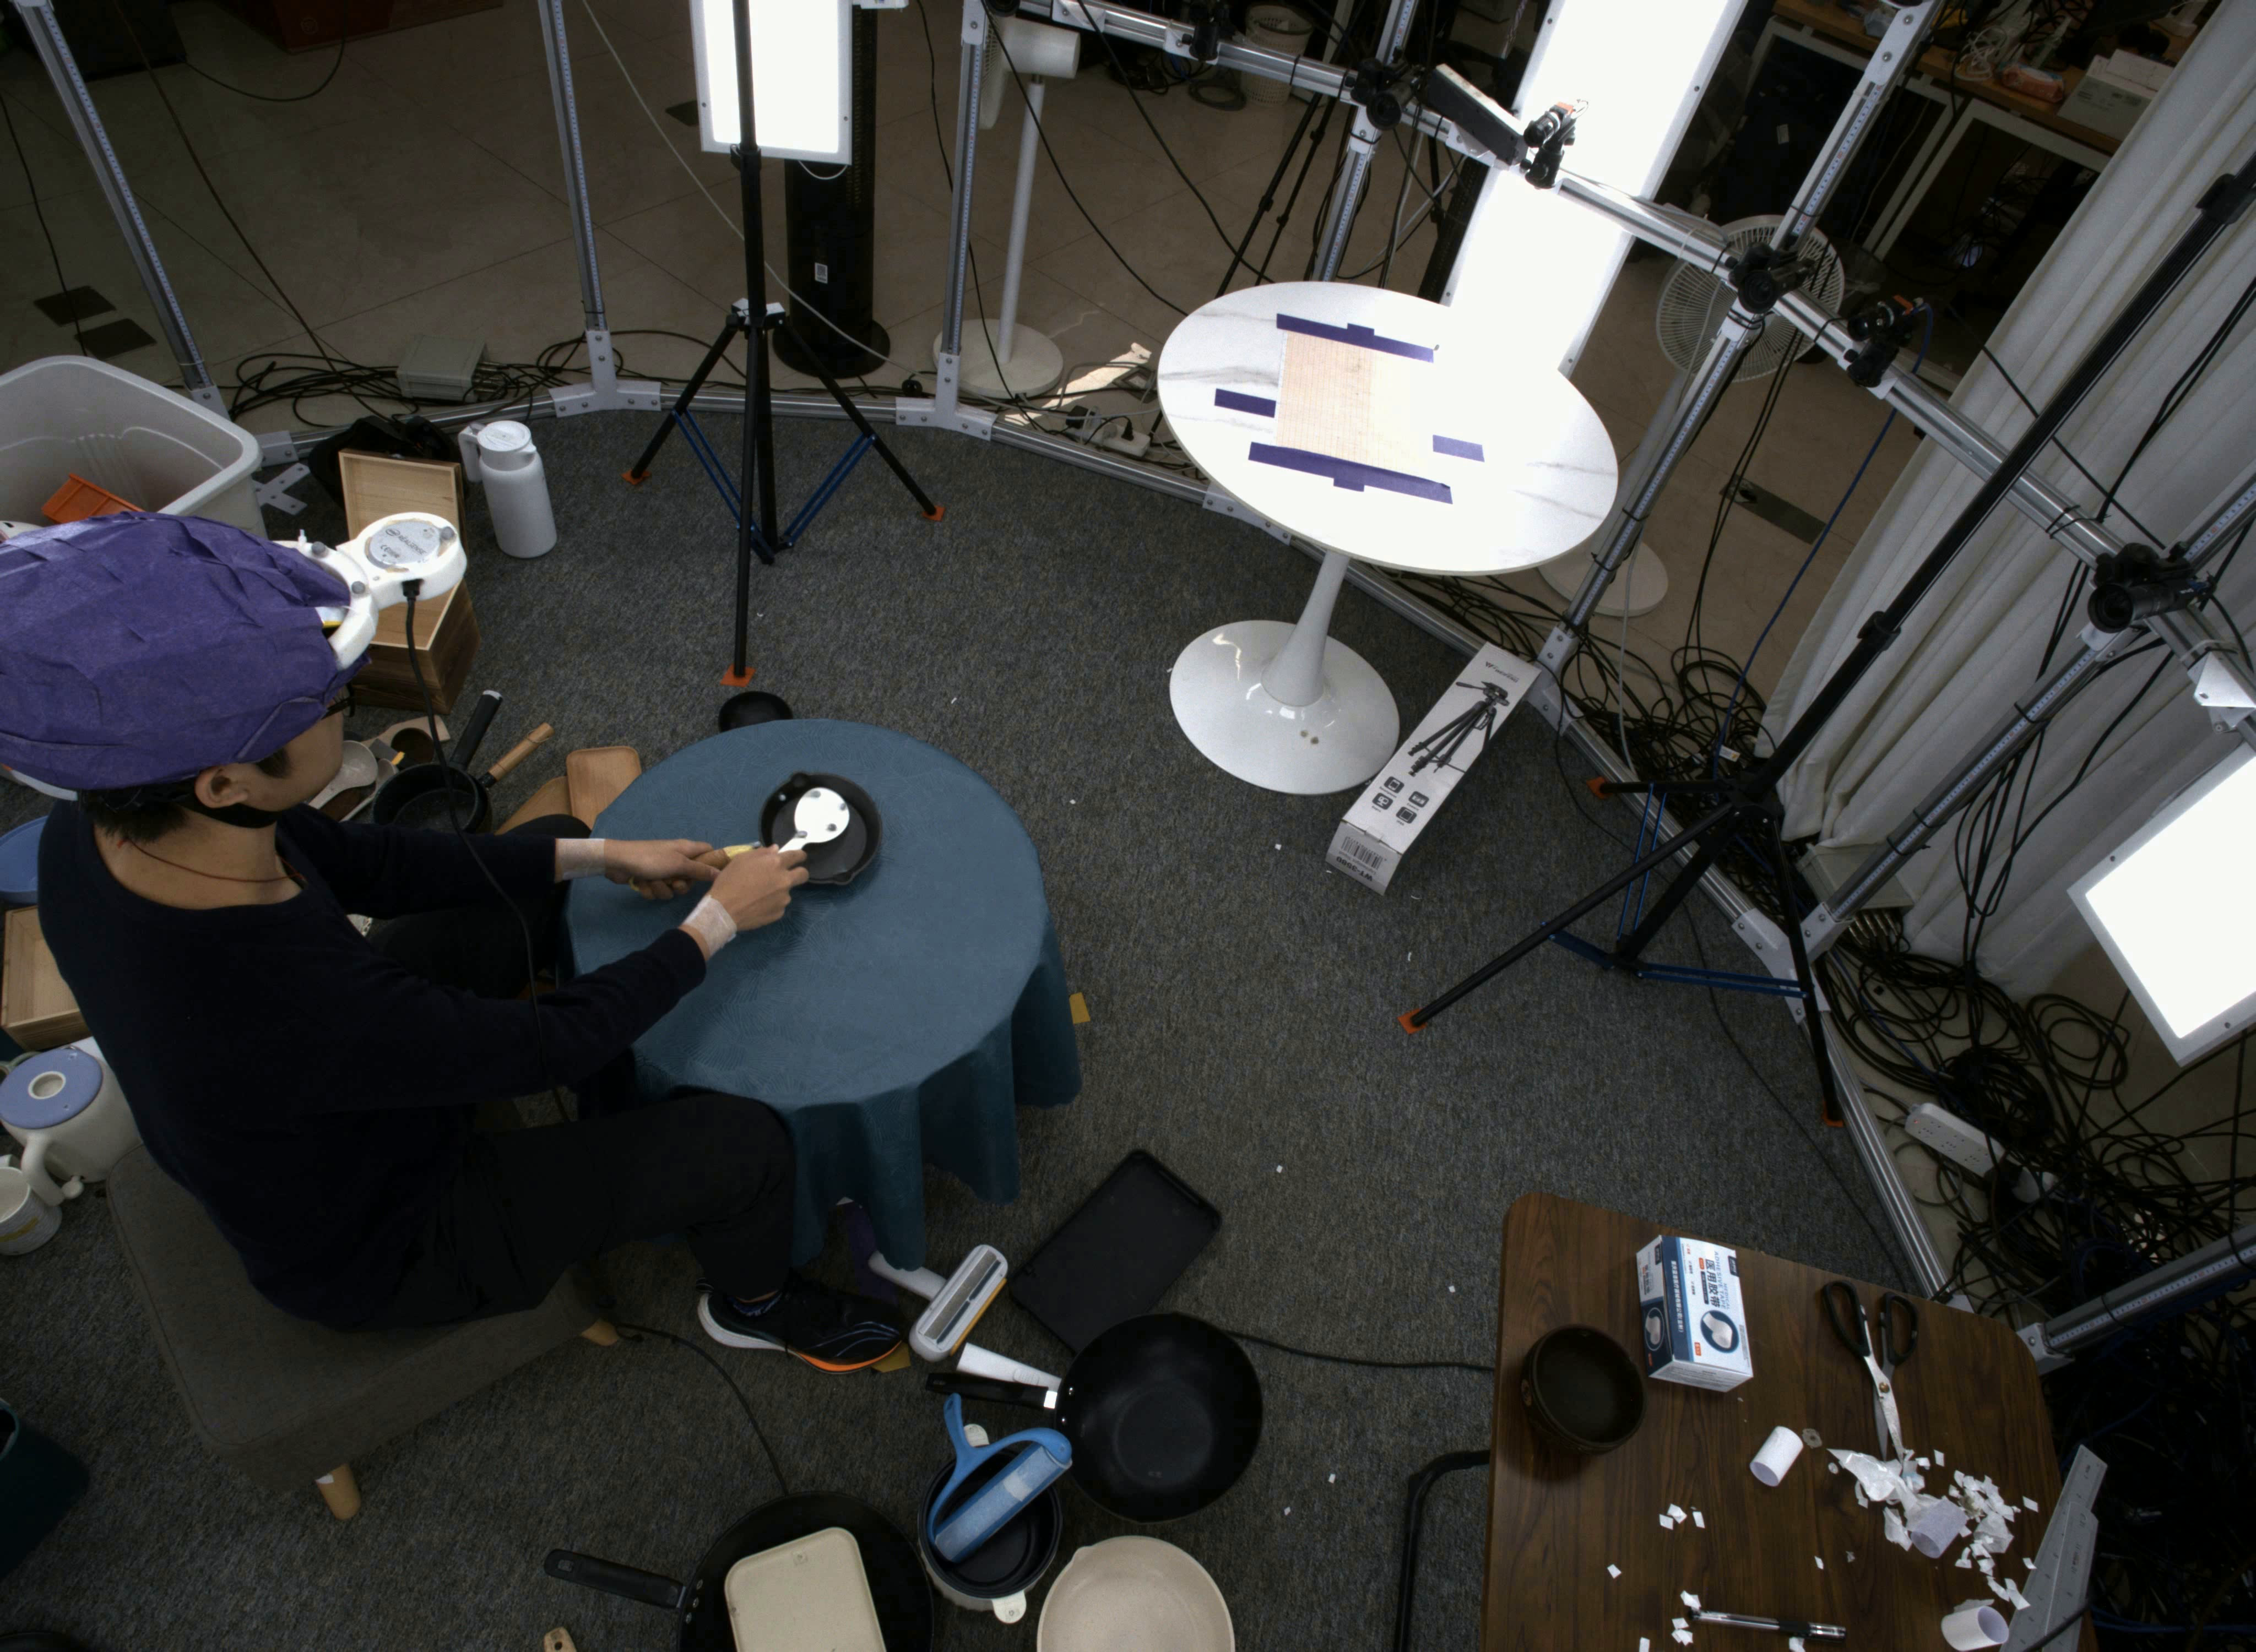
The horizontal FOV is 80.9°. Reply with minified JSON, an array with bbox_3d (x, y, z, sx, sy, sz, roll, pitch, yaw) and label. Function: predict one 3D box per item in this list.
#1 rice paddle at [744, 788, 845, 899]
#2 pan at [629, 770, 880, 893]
[{"bbox_3d":[-0.419,0.015,1.635,0.070,0.029,0.203,41,40,-11],"label":"rice paddle"},{"bbox_3d":[-0.470,0.027,1.631,0.326,0.050,0.167,-18,74,-28],"label":"pan"}]
